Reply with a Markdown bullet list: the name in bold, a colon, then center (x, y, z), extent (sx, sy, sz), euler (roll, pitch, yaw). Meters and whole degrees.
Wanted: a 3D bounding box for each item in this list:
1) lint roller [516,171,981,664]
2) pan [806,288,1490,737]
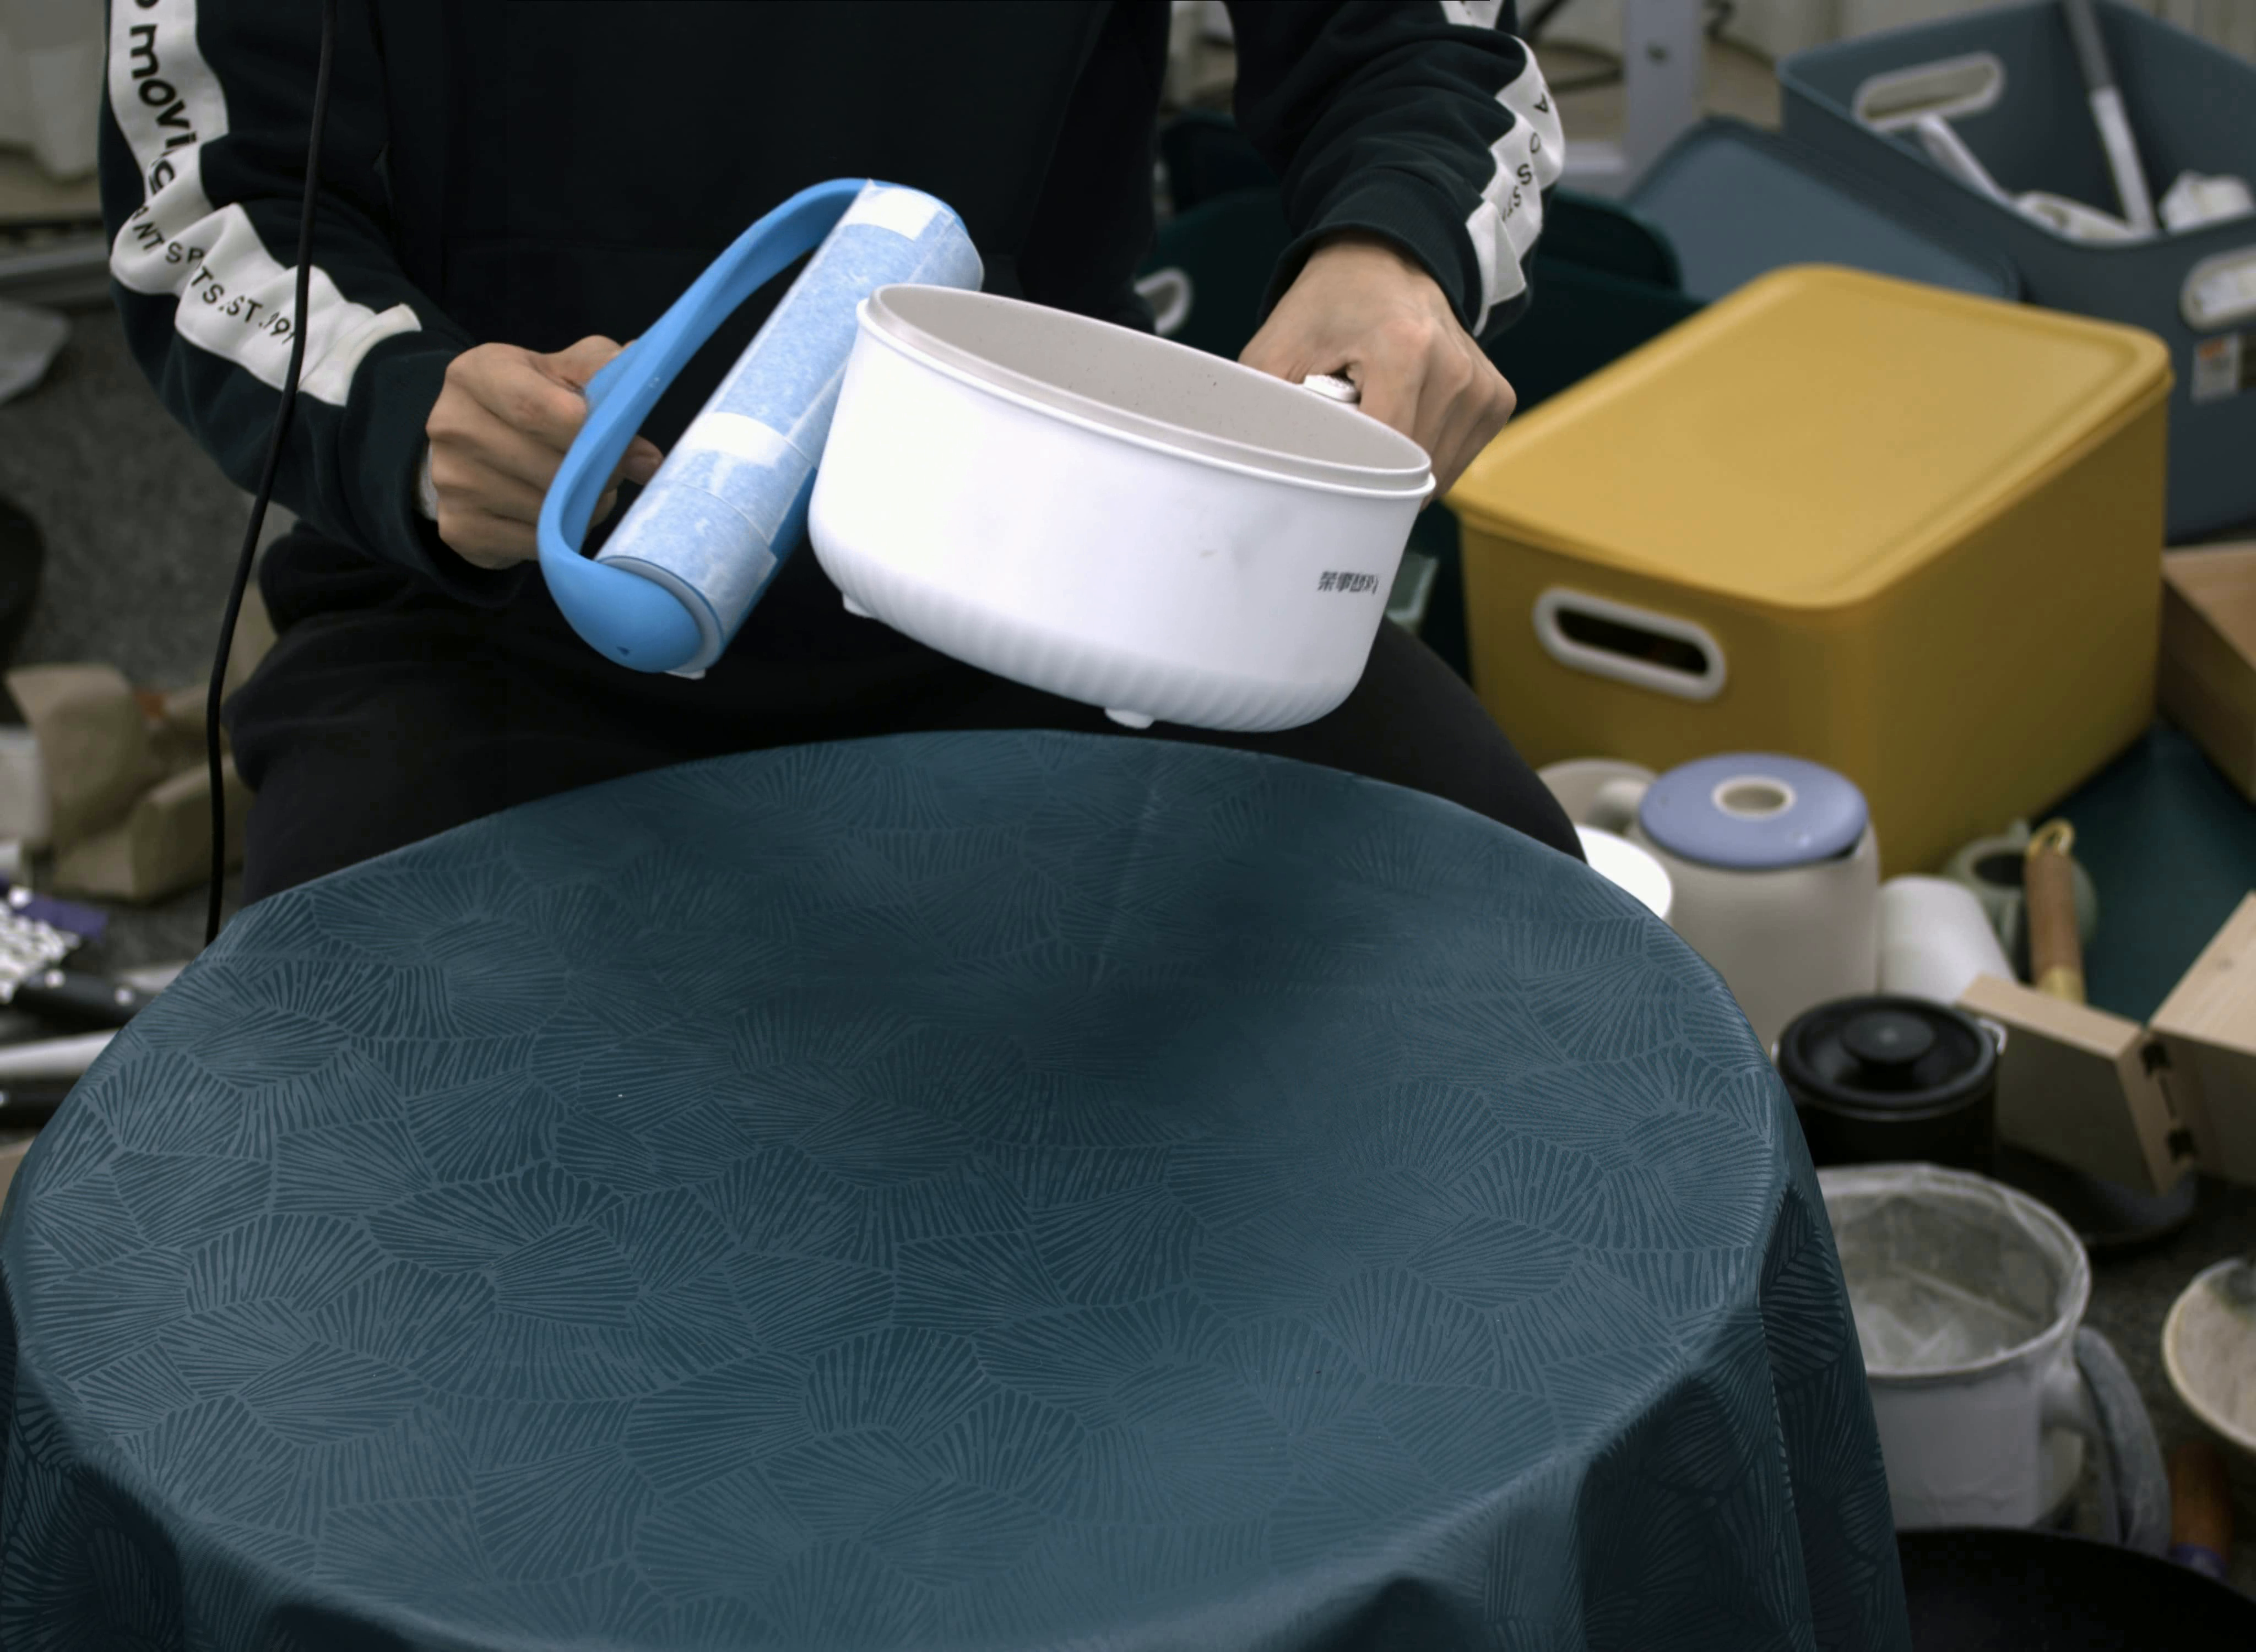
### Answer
- **lint roller**: center (-0.162, -0.133, 1.954), extent (0.178, 0.067, 0.233), euler (-9, 39, 38)
- **pan**: center (0.026, -0.105, 1.946), extent (0.200, 0.102, 0.357), euler (22, 12, 23)
